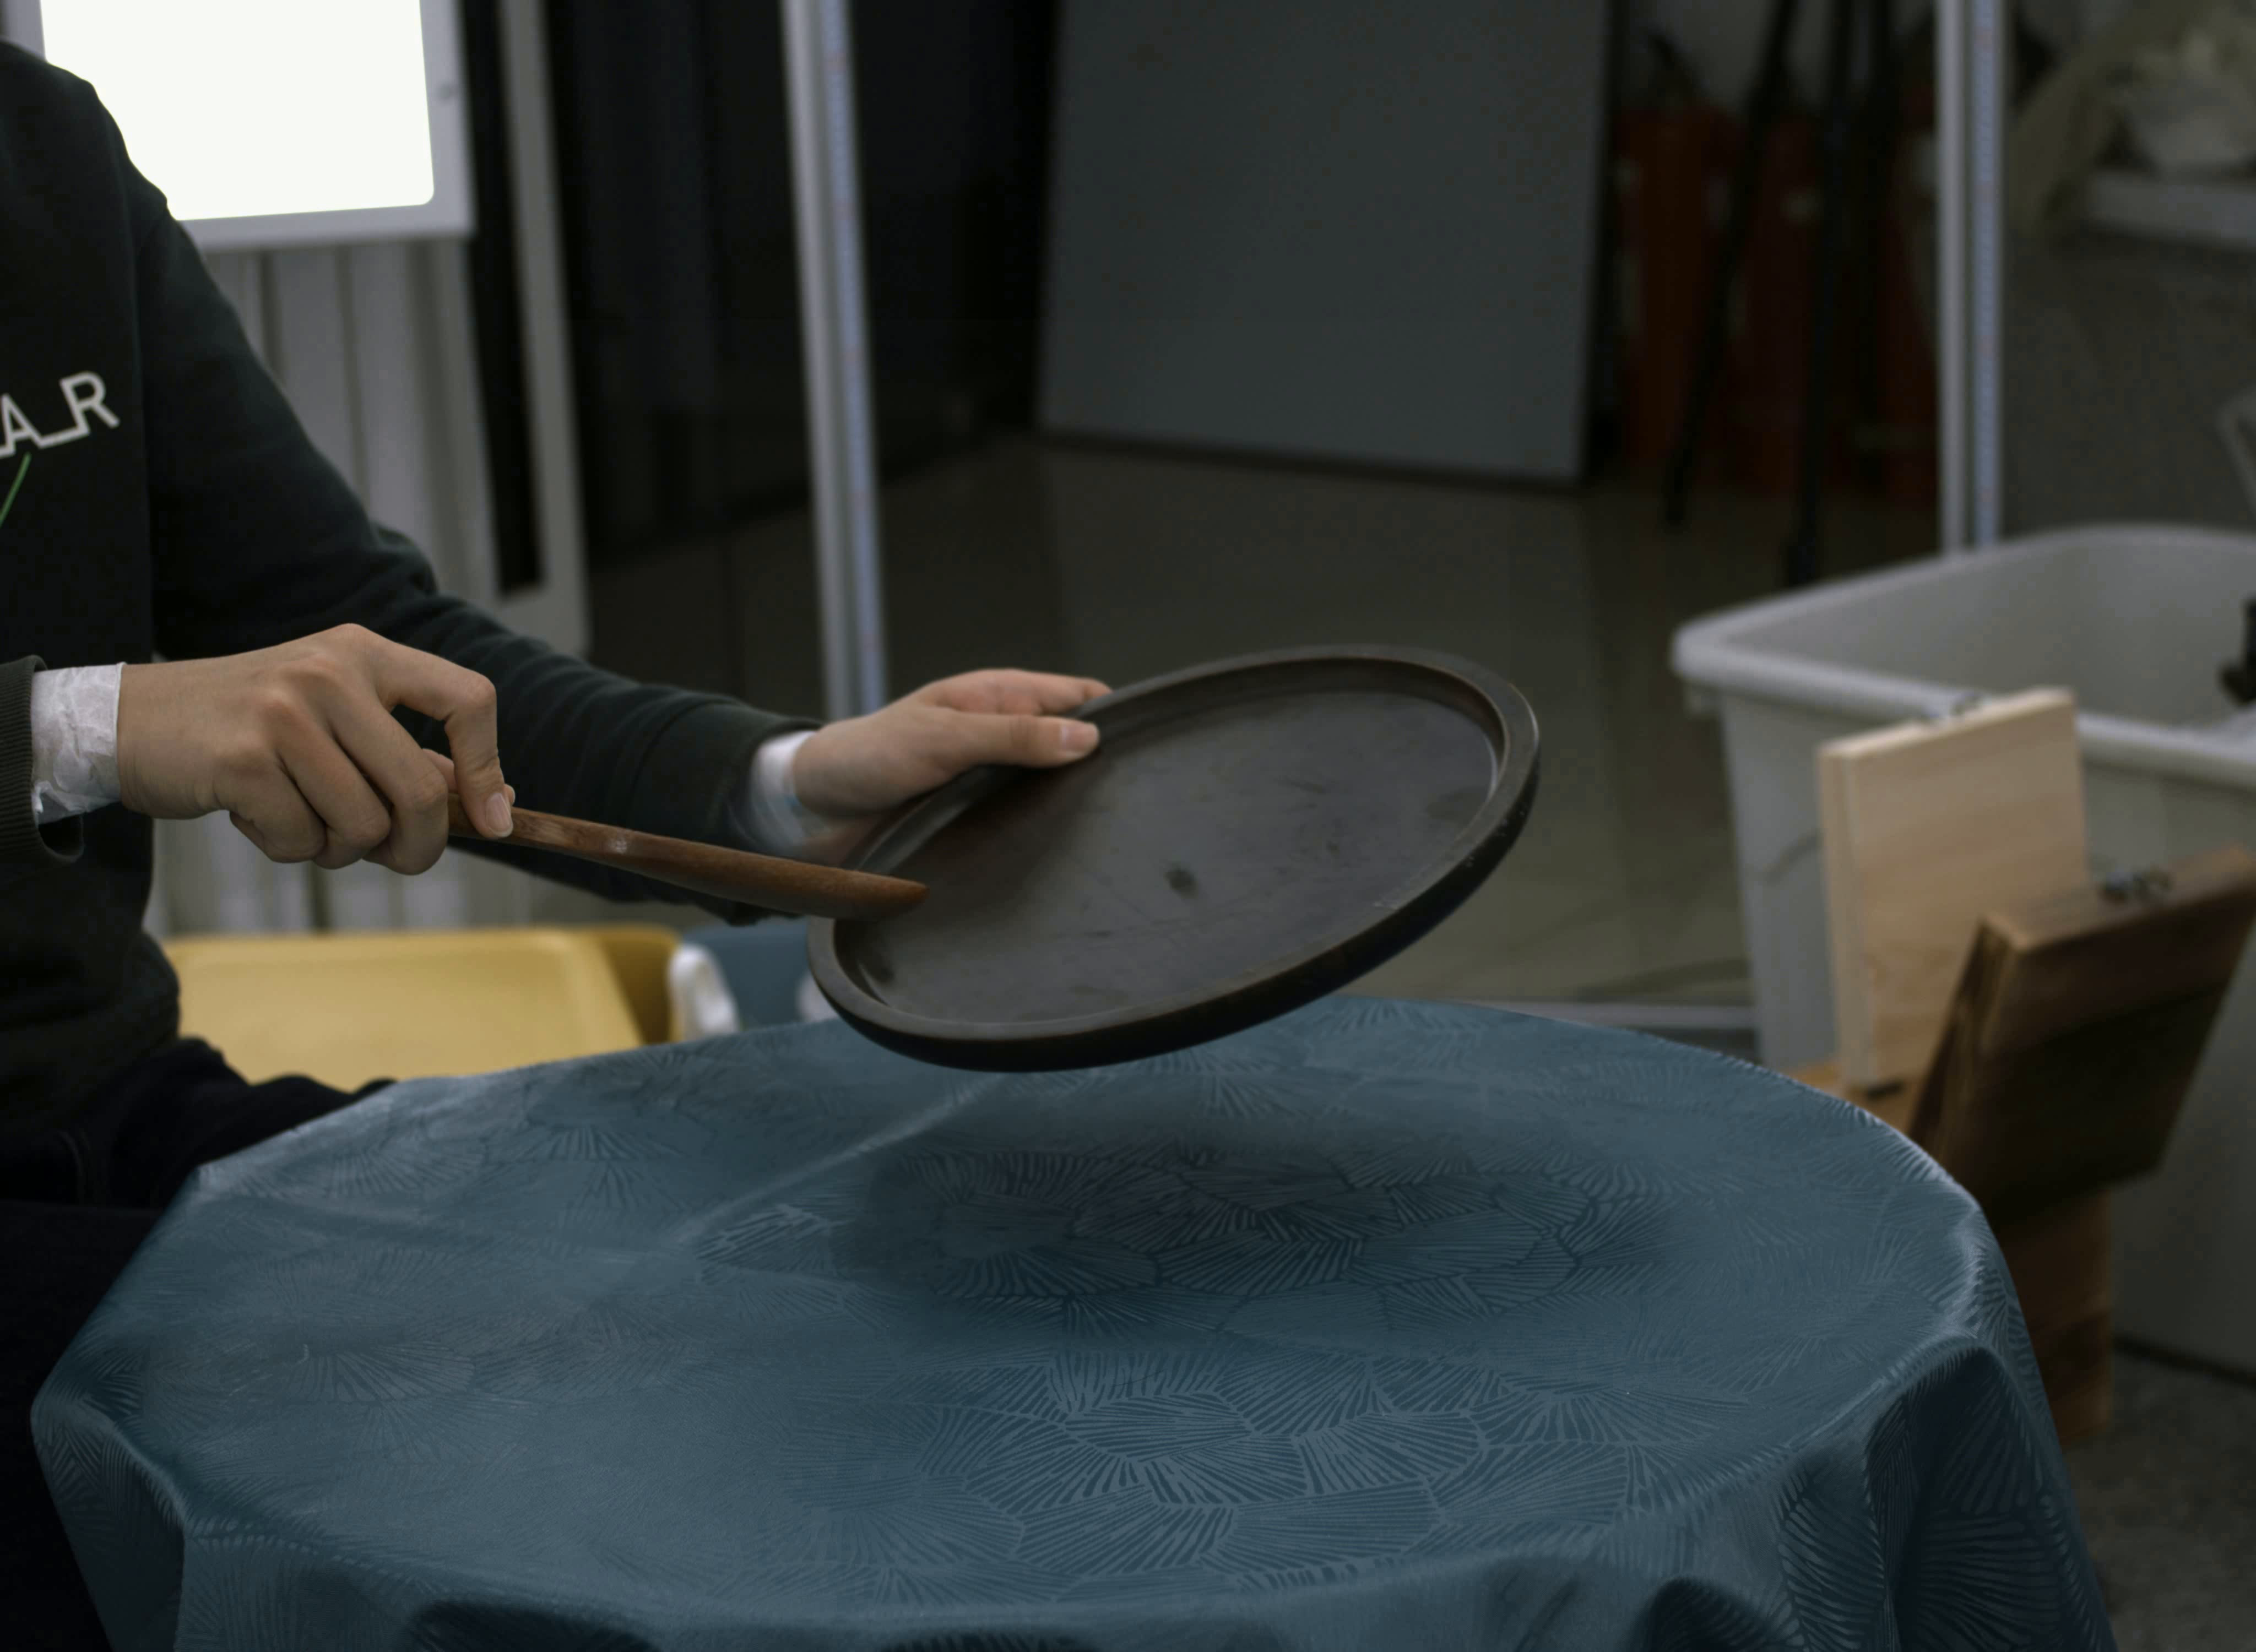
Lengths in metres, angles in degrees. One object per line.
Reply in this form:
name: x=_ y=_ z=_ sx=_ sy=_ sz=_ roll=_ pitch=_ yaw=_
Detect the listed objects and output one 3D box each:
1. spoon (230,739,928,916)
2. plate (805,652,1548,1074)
spoon: x=-0.165 y=0.003 z=1.637 sx=0.212 sy=0.017 sz=0.076 roll=12 pitch=-1 yaw=-10
plate: x=0.018 y=0.010 z=1.762 sx=0.253 sy=0.029 sz=0.256 roll=-16 pitch=24 yaw=7
